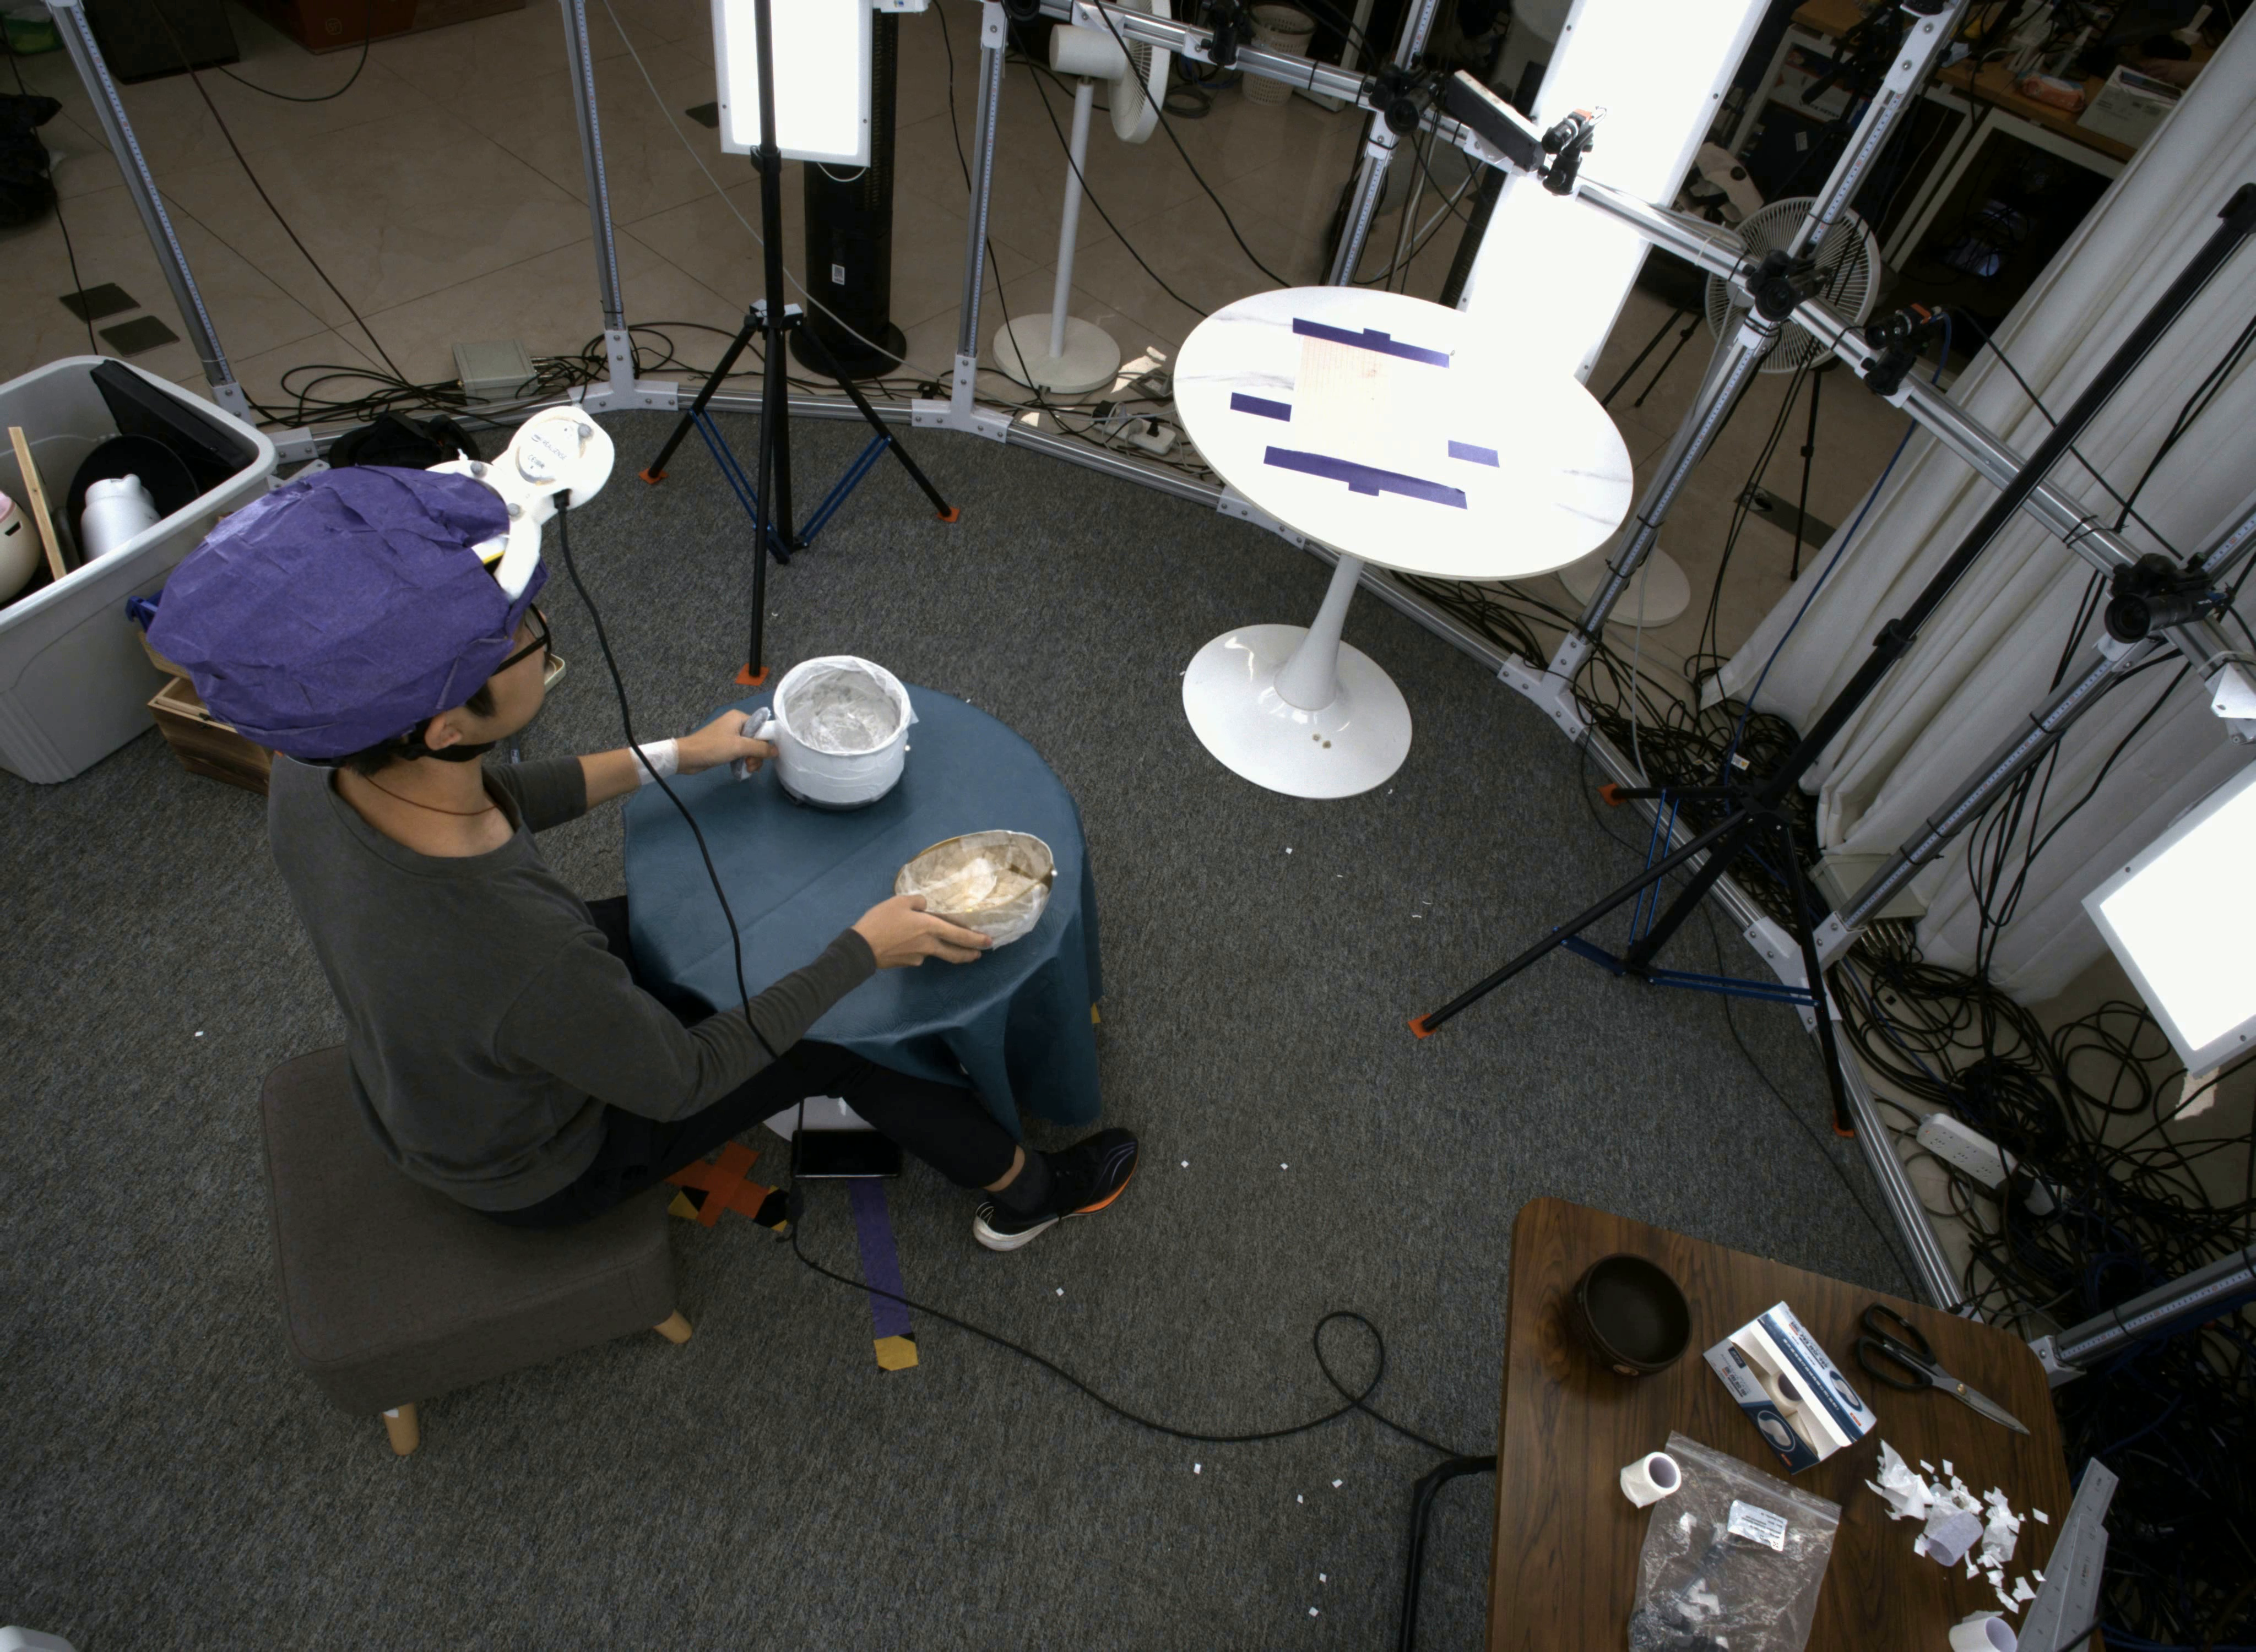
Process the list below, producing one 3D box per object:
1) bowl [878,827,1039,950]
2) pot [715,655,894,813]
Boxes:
[{"bbox_3d":[-0.209,0.093,1.645,0.211,0.098,0.210,-5,31,4],"label":"bowl"},{"bbox_3d":[-0.432,-0.114,1.725,0.235,0.139,0.174,-11,57,-24],"label":"pot"}]
